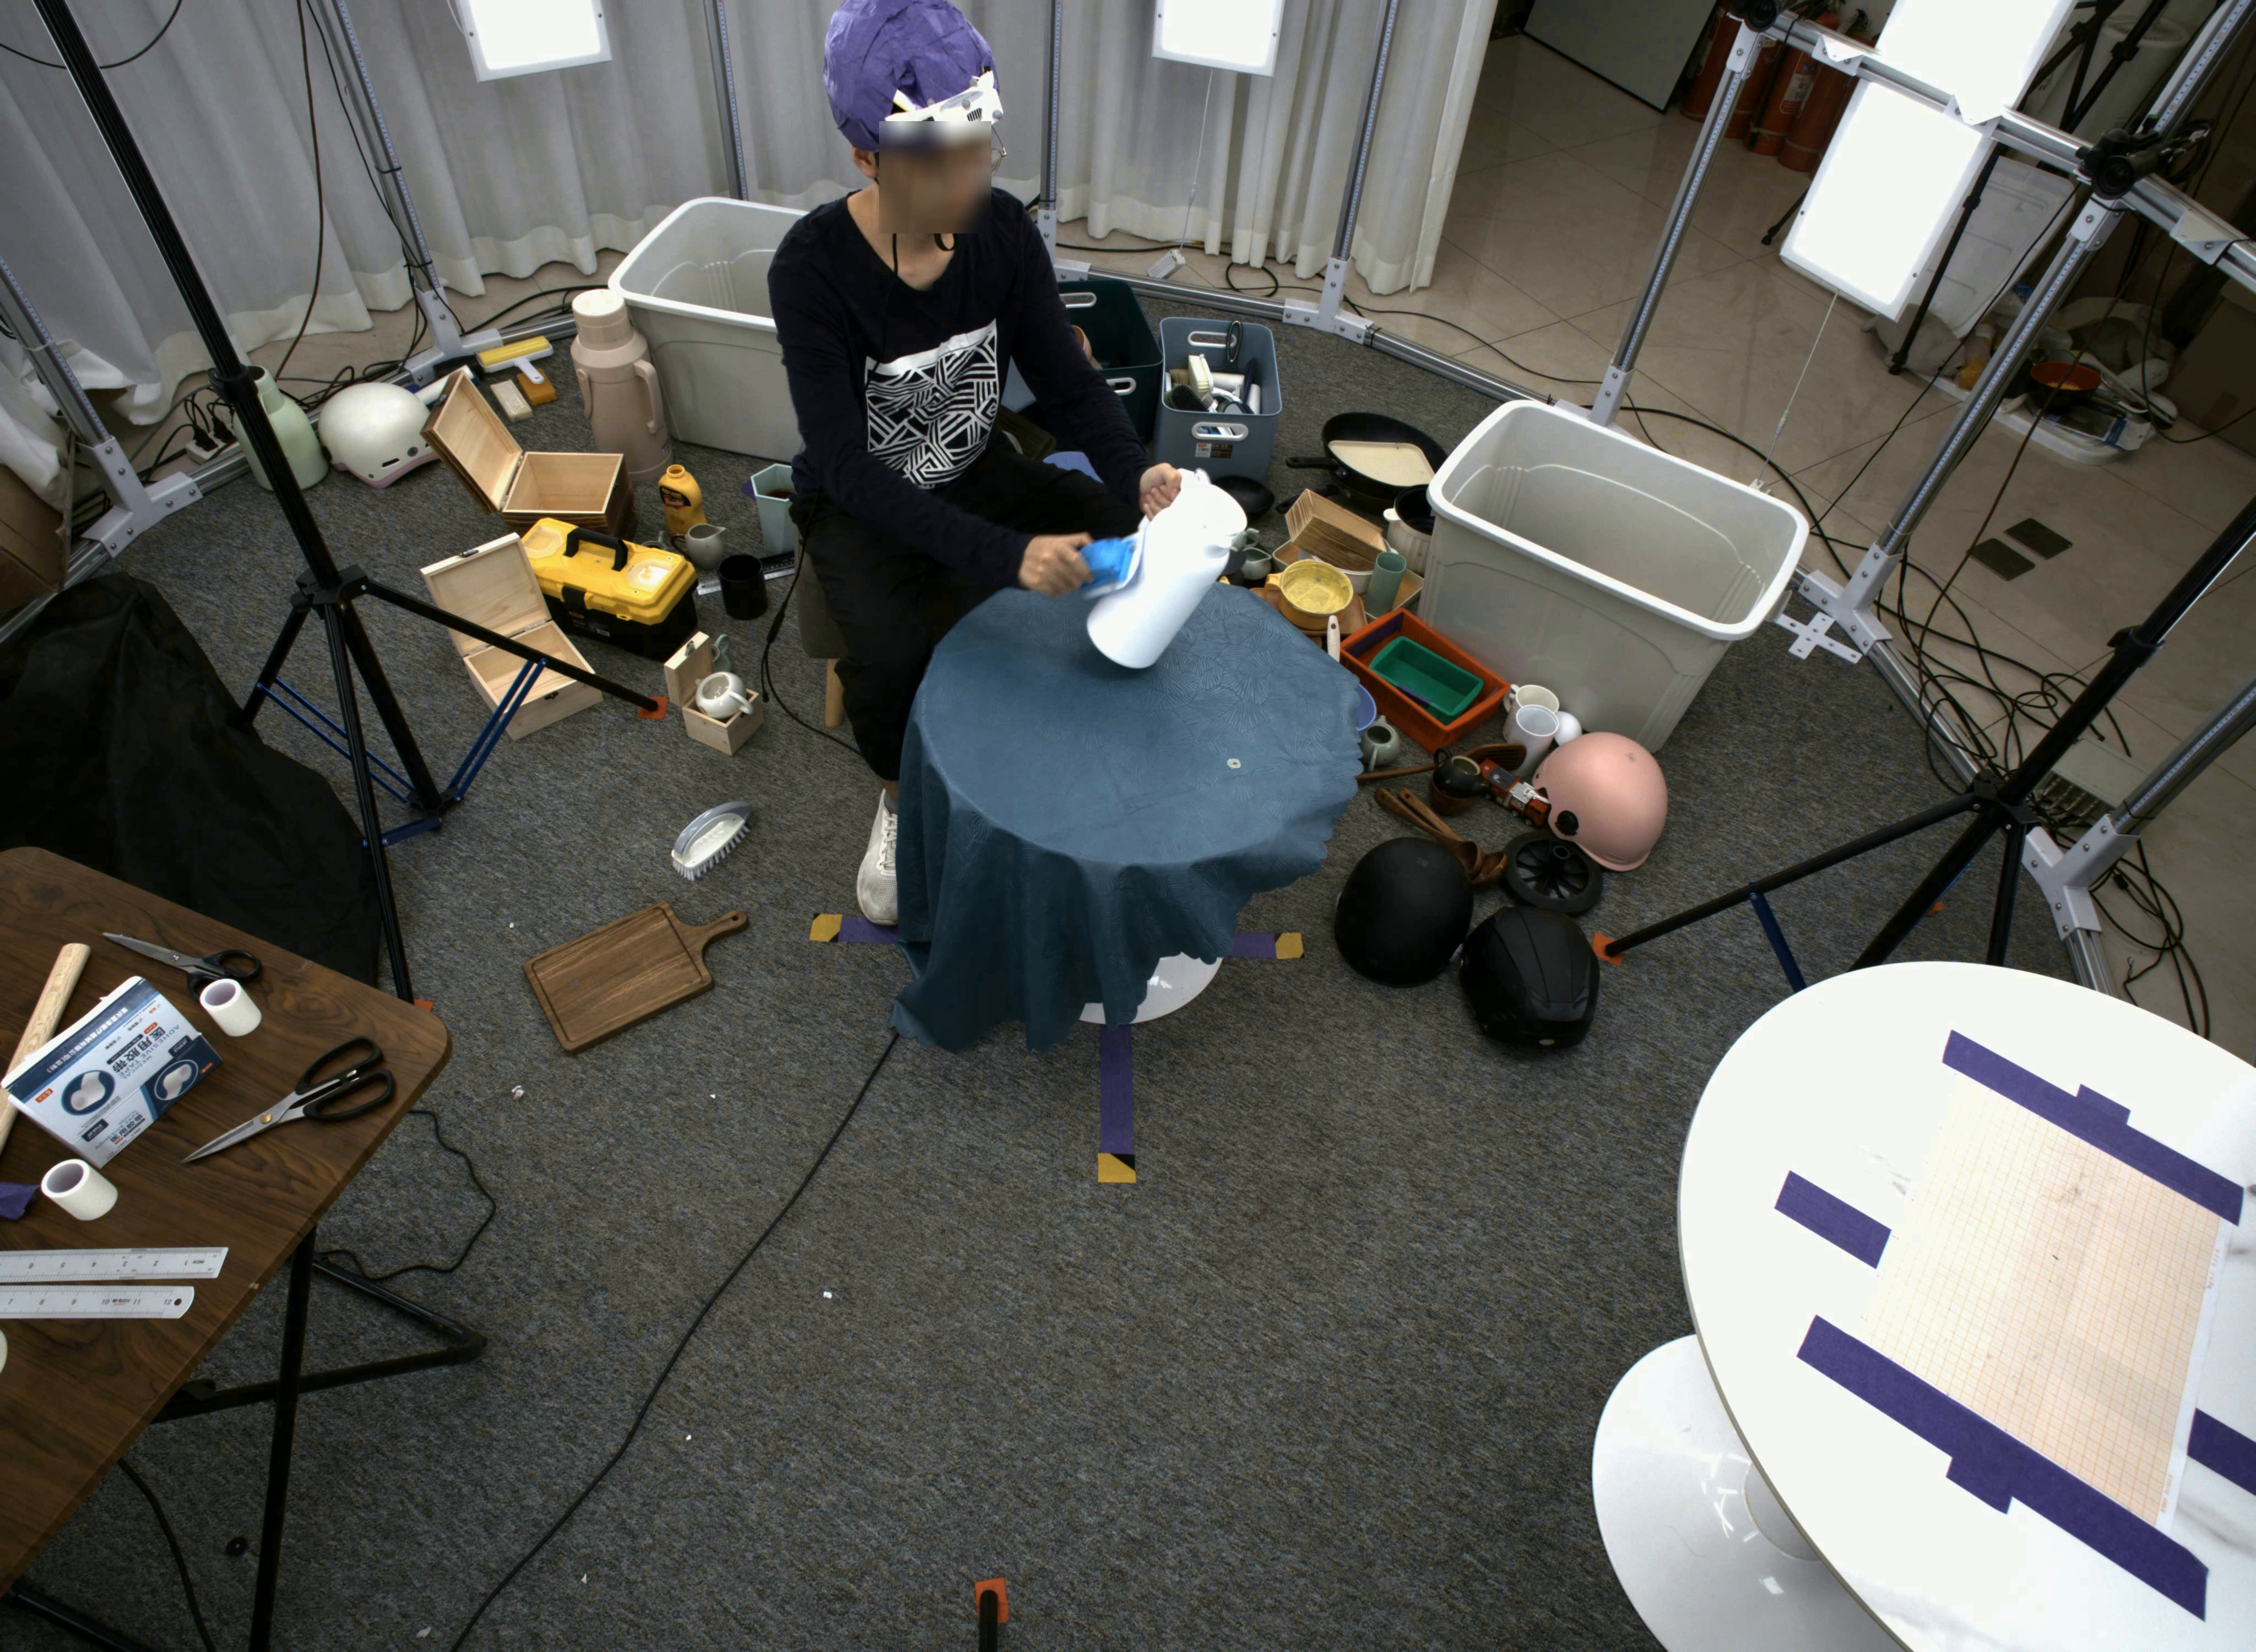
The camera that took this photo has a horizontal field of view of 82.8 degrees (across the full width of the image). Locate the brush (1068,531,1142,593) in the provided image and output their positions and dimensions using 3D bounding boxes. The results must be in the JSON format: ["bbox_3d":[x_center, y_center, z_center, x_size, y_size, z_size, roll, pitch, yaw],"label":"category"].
[{"bbox_3d":[-0.038,-0.369,1.763,0.055,0.145,0.084,22,83,-29],"label":"brush"}]

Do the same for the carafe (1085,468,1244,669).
[{"bbox_3d":[0.044,-0.360,1.787,0.123,0.264,0.177,7,49,-30],"label":"carafe"}]
